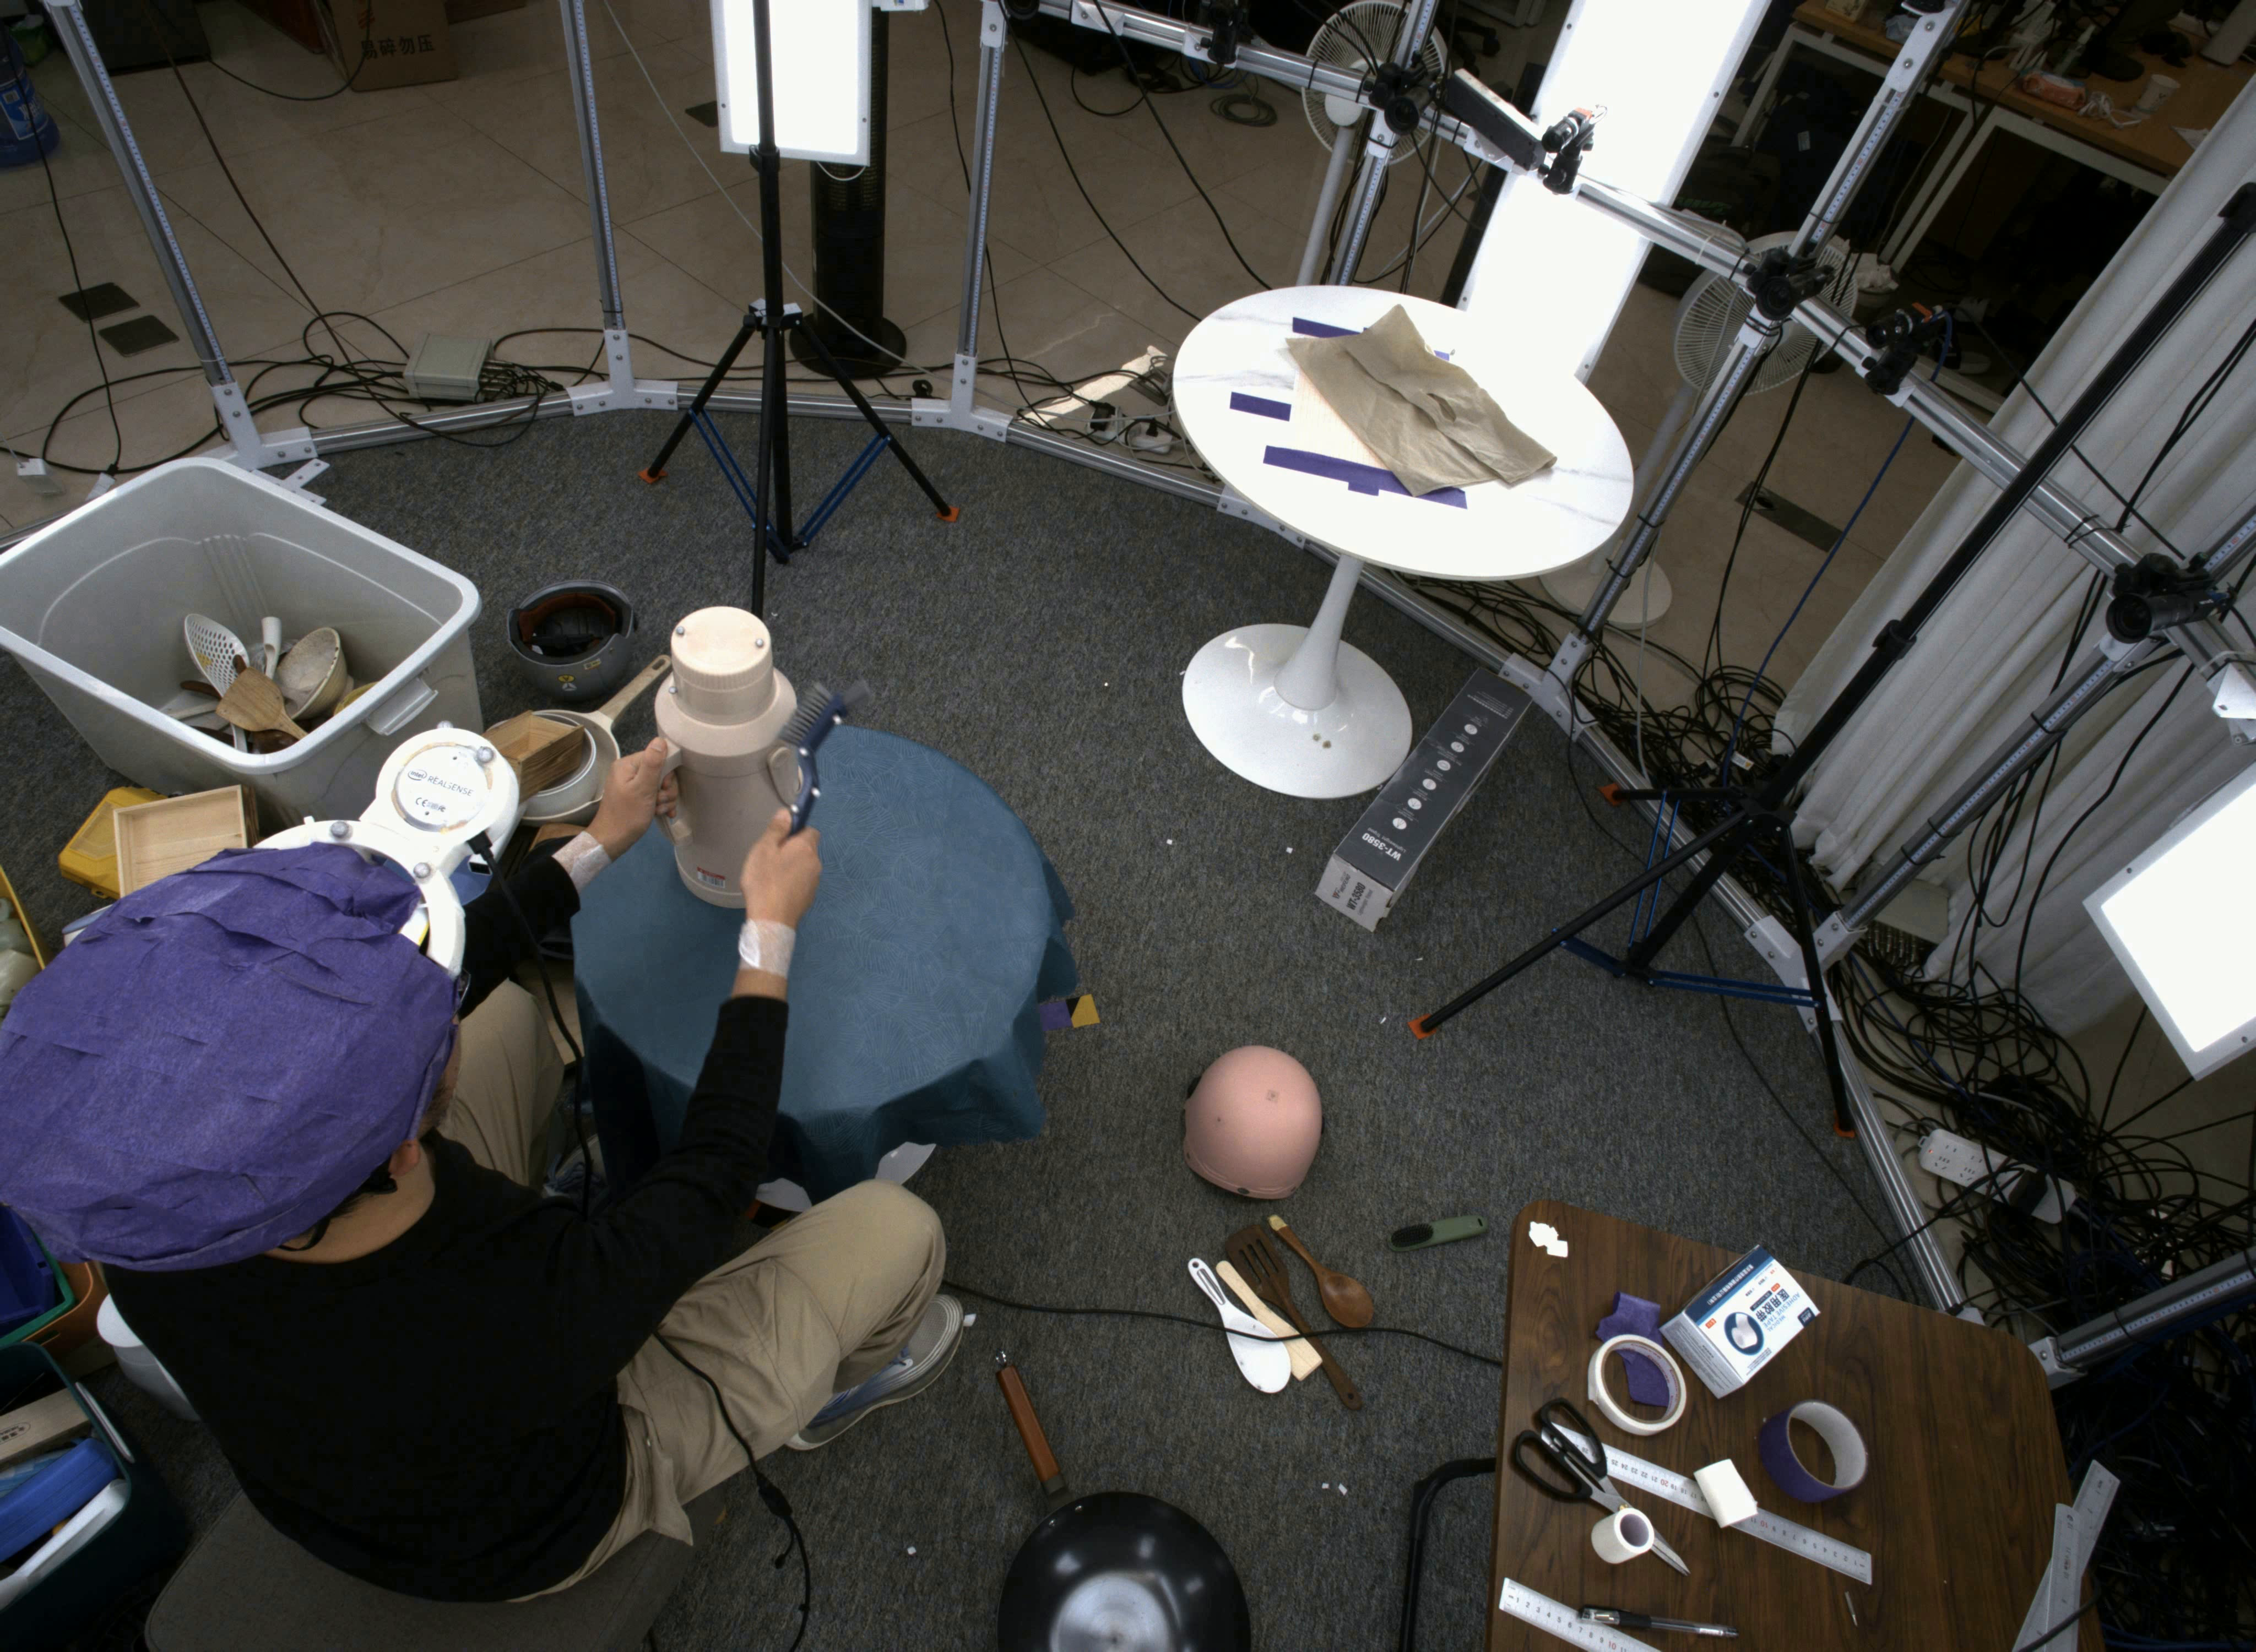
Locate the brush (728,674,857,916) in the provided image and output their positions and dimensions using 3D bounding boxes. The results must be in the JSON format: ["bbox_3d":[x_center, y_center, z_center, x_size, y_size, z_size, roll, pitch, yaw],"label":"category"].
[{"bbox_3d":[-0.358,-0.038,1.365,0.094,0.034,0.272,5,71,5],"label":"brush"}]

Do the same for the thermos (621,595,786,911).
[{"bbox_3d":[-0.496,-0.074,1.498,0.172,0.414,0.207,34,53,13],"label":"thermos"}]
